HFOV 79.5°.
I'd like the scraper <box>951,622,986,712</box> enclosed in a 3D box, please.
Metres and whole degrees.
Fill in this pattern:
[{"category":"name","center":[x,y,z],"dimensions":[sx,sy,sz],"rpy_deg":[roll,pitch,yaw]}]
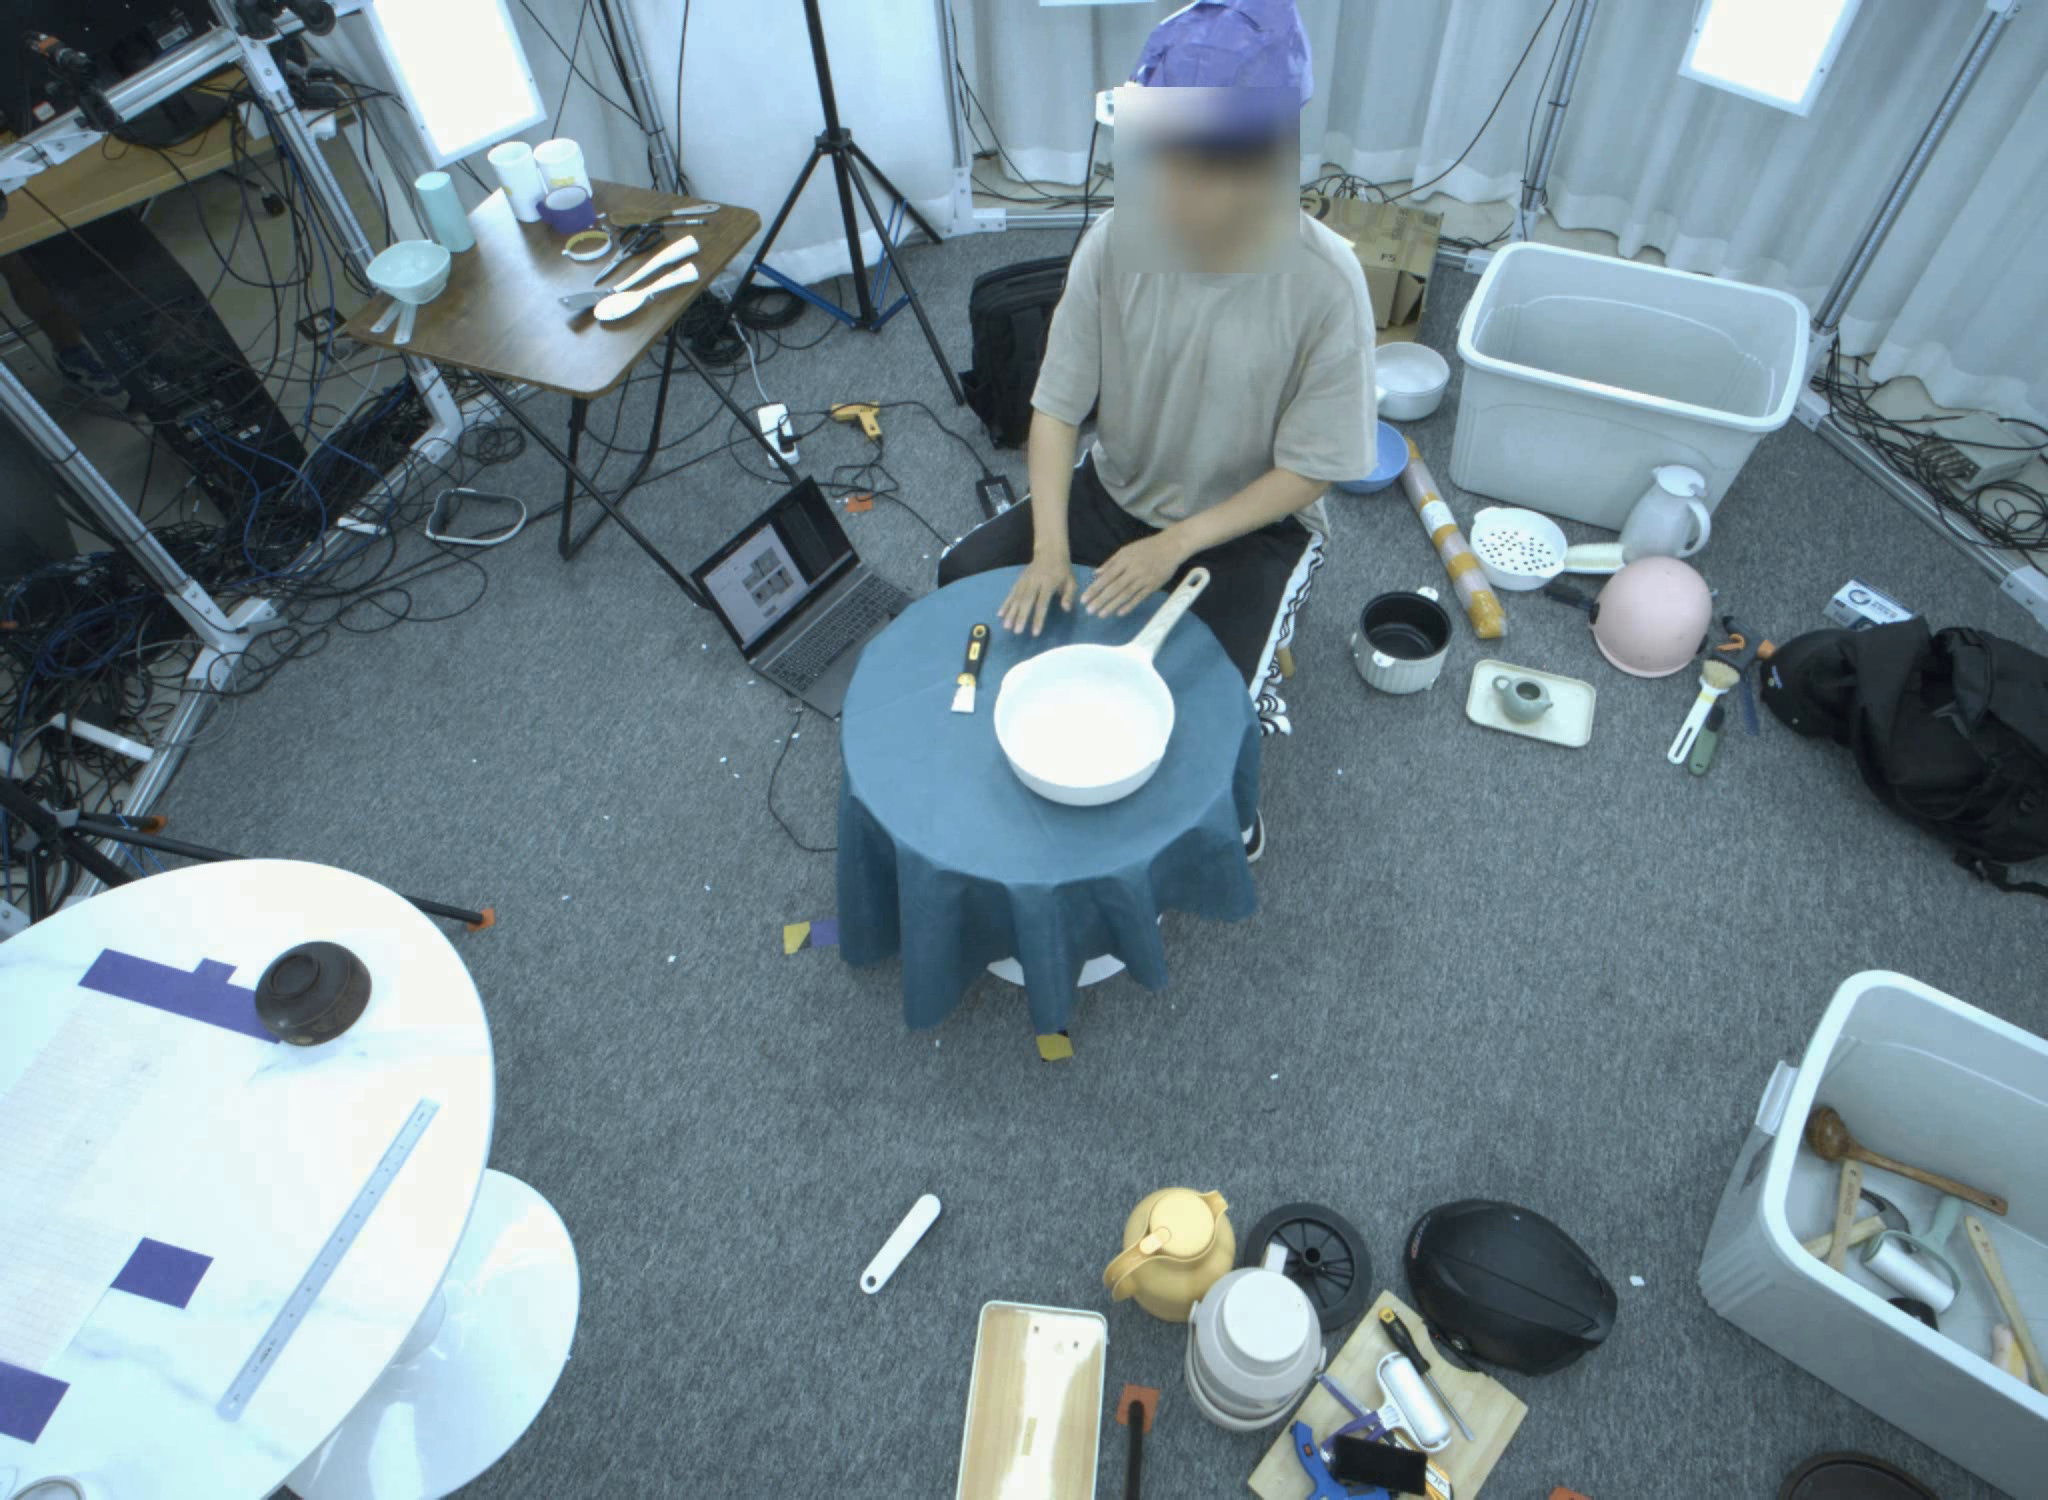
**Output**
[{"category":"scraper","center":[-0.082,-0.127,1.868],"dimensions":[0.038,0.015,0.169],"rpy_deg":[2,57,9]}]

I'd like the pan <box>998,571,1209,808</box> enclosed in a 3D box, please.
[{"category":"pan","center":[0.146,-0.092,1.786],"dimensions":[0.259,0.103,0.437],"rpy_deg":[29,61,24]}]
